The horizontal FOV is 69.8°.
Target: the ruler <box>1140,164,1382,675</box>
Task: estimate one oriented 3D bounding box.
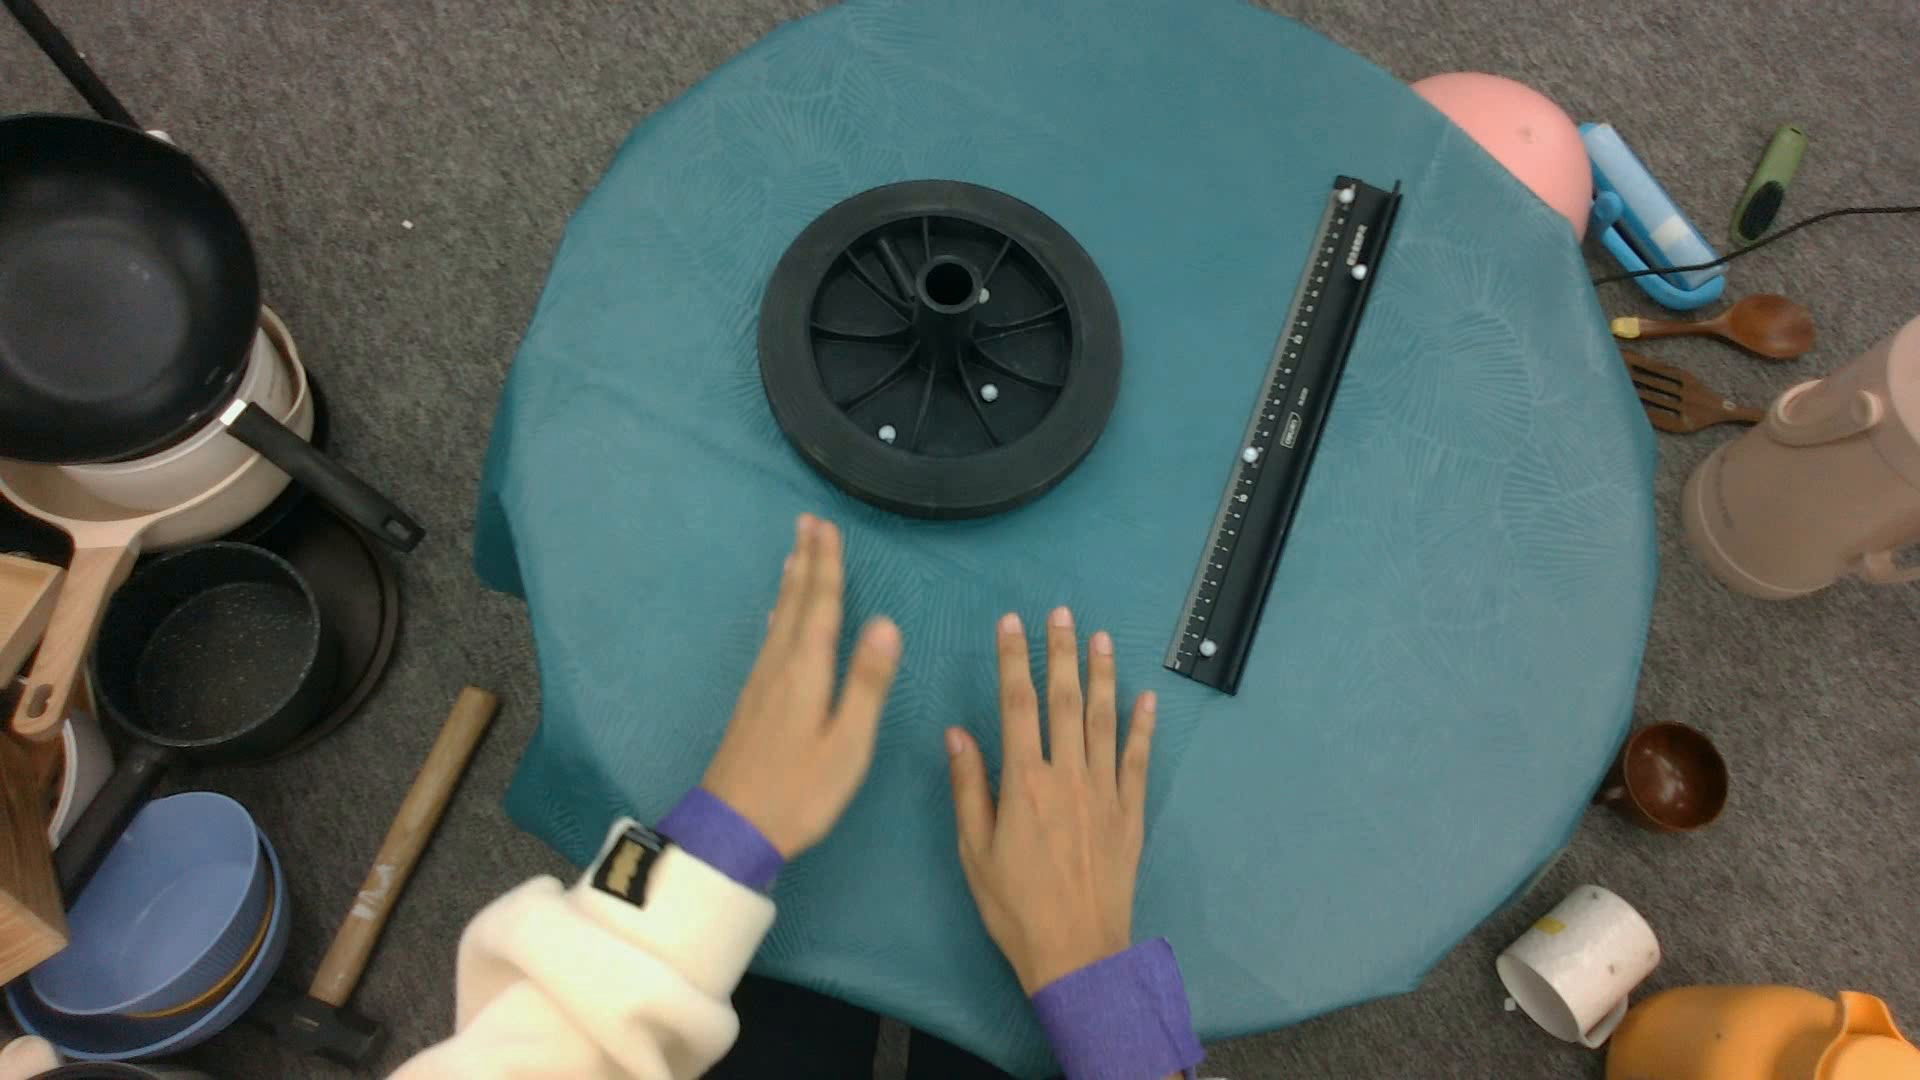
[{"bbox_3d":[0.165,-0.077,0.728,0.039,0.017,0.313,22,70,6],"label":"ruler"}]

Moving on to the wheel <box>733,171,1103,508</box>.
[{"bbox_3d":[-0.019,-0.114,0.689,0.190,0.079,0.188,39,72,8],"label":"wheel"}]
